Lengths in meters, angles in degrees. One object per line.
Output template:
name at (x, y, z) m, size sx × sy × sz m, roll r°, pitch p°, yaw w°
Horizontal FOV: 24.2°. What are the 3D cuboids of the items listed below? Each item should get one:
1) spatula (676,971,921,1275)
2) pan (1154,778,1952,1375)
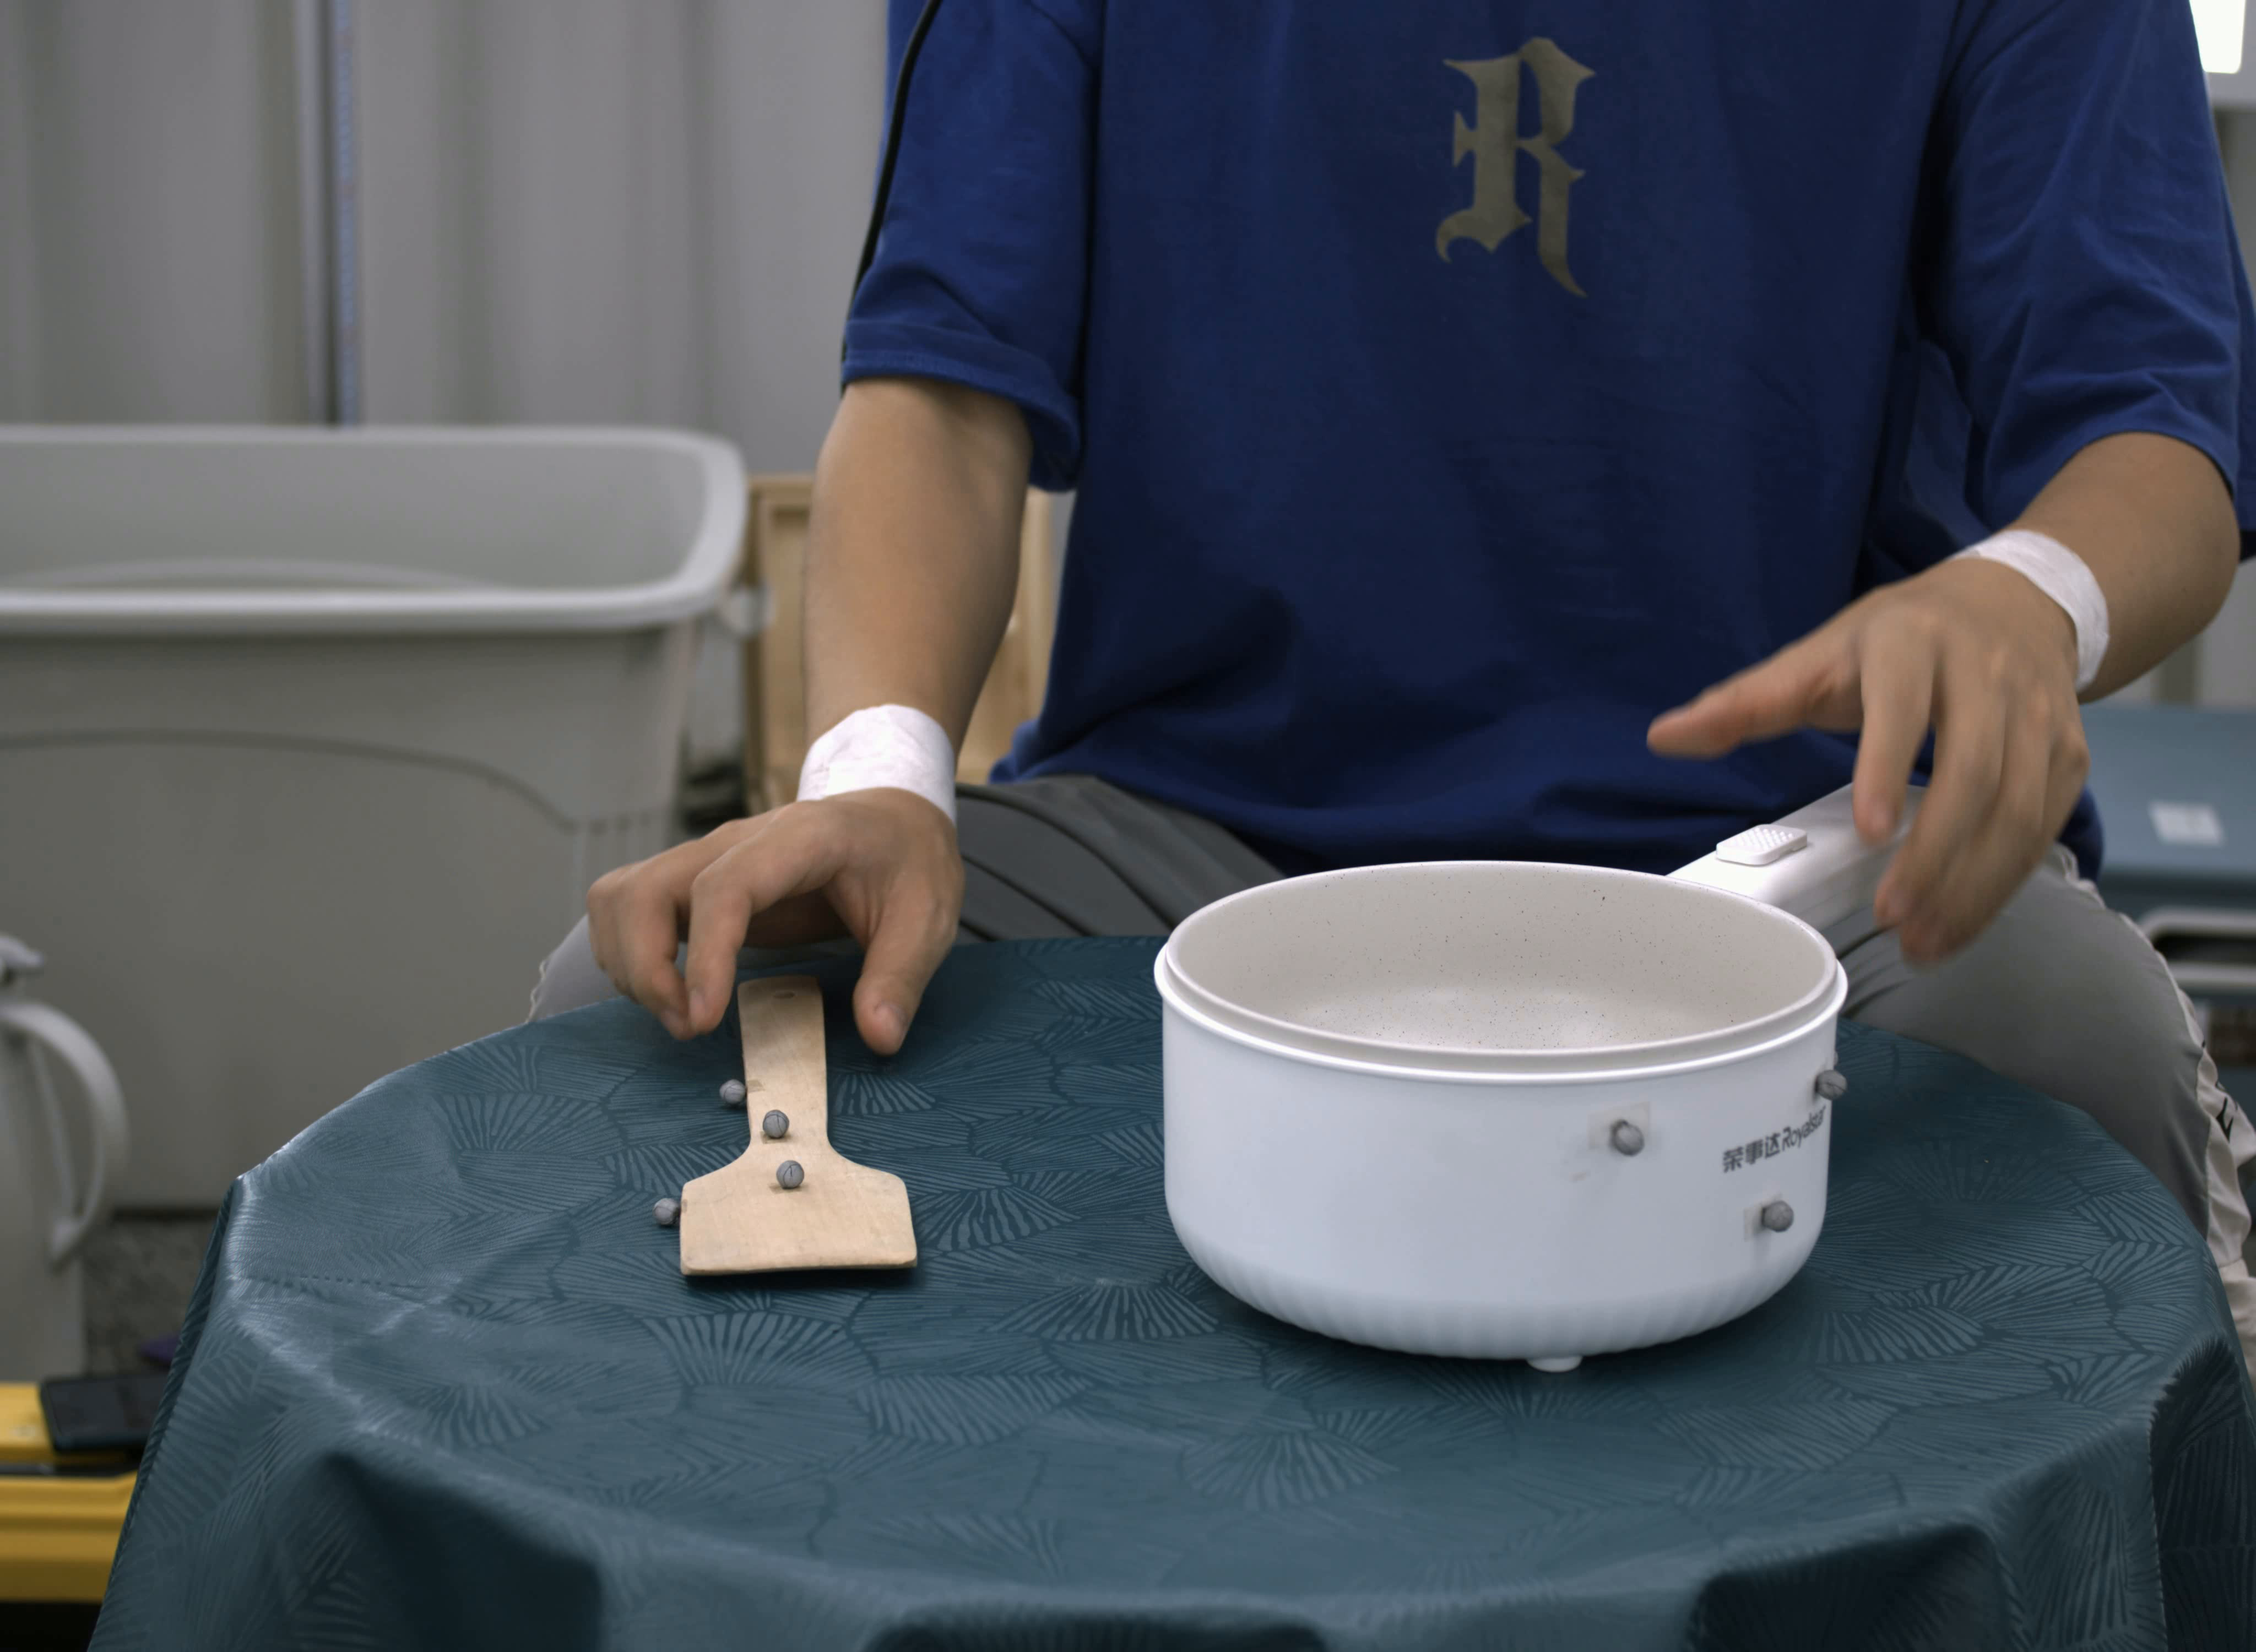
spatula at (-0.108, 0.092, 1.674) m, size 0.072 × 0.011 × 0.291 m, roll -2°, pitch 16°, yaw -4°
pan at (0.152, 0.069, 1.600) m, size 0.199 × 0.103 × 0.356 m, roll 9°, pitch 18°, yaw 33°
